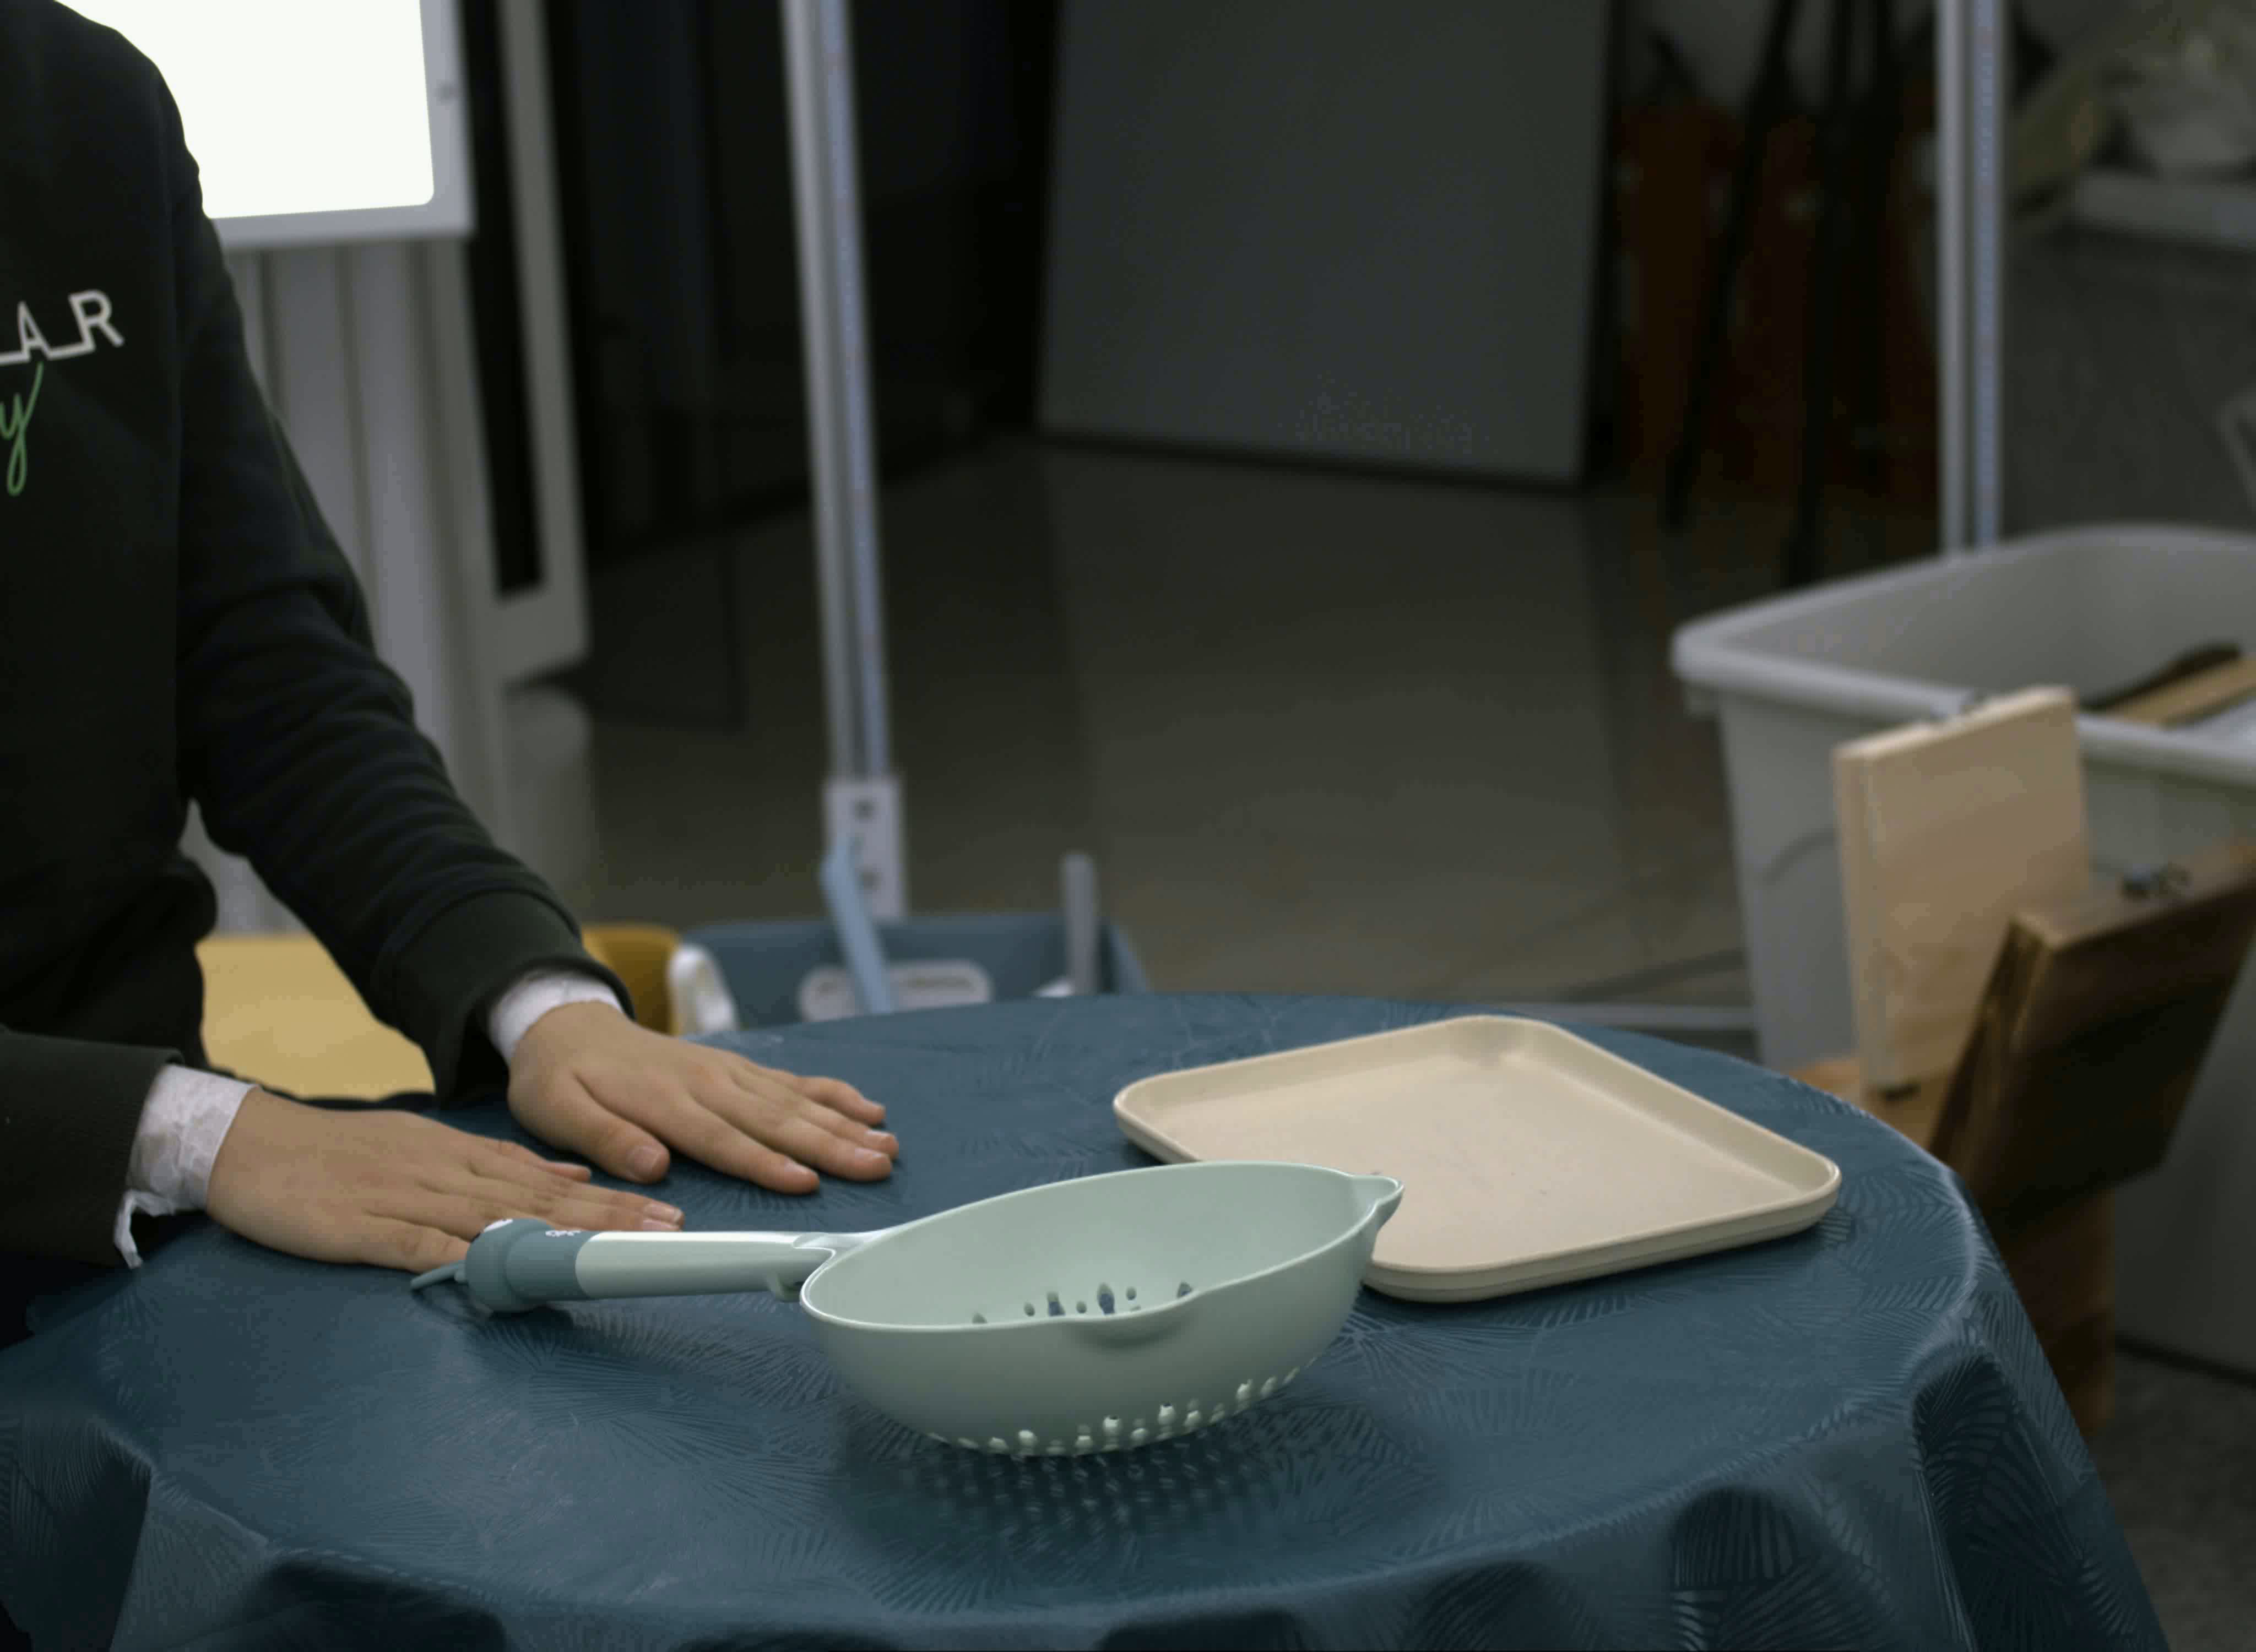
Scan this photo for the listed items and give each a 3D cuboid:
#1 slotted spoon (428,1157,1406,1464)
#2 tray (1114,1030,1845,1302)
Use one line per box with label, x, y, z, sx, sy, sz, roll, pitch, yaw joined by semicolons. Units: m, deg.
slotted spoon;-0.083;0.136;1.605;0.361;0.076;0.166;6;16;38
tray;0.111;0.109;1.753;0.167;0.017;0.242;-10;14;-23
